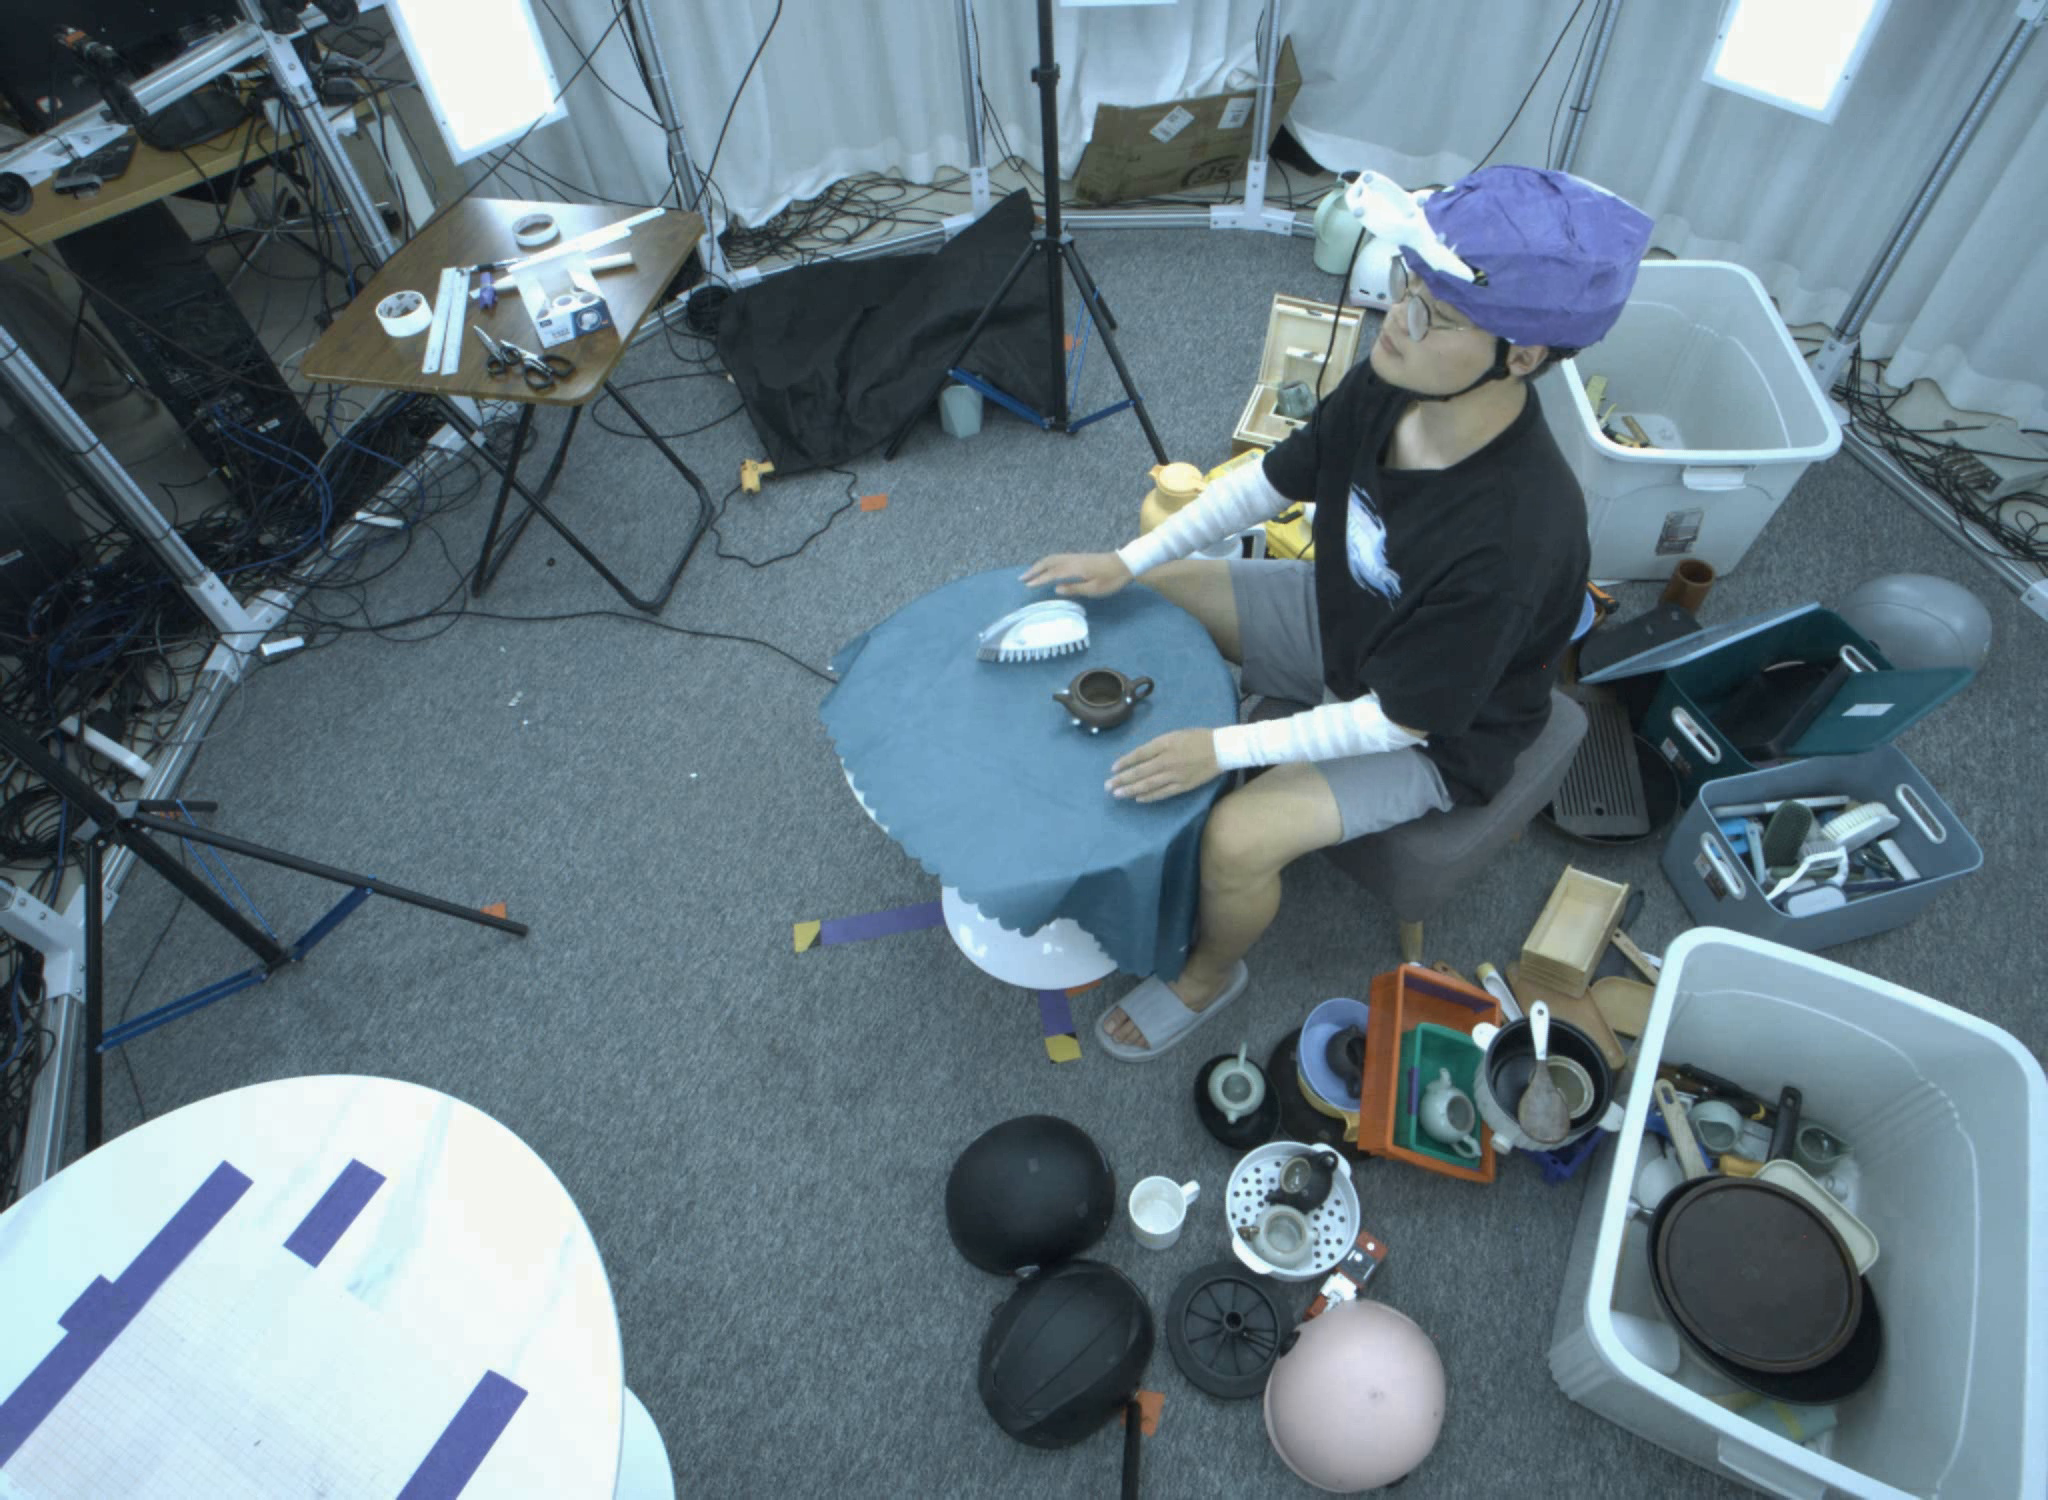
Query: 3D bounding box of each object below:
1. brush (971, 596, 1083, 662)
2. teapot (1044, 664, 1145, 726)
[{"bbox_3d":[-0.001,-0.185,1.854,0.176,0.095,0.060,-13,51,-5],"label":"brush"},{"bbox_3d":[0.103,-0.083,1.801,0.154,0.054,0.101,-18,57,-11],"label":"teapot"}]
